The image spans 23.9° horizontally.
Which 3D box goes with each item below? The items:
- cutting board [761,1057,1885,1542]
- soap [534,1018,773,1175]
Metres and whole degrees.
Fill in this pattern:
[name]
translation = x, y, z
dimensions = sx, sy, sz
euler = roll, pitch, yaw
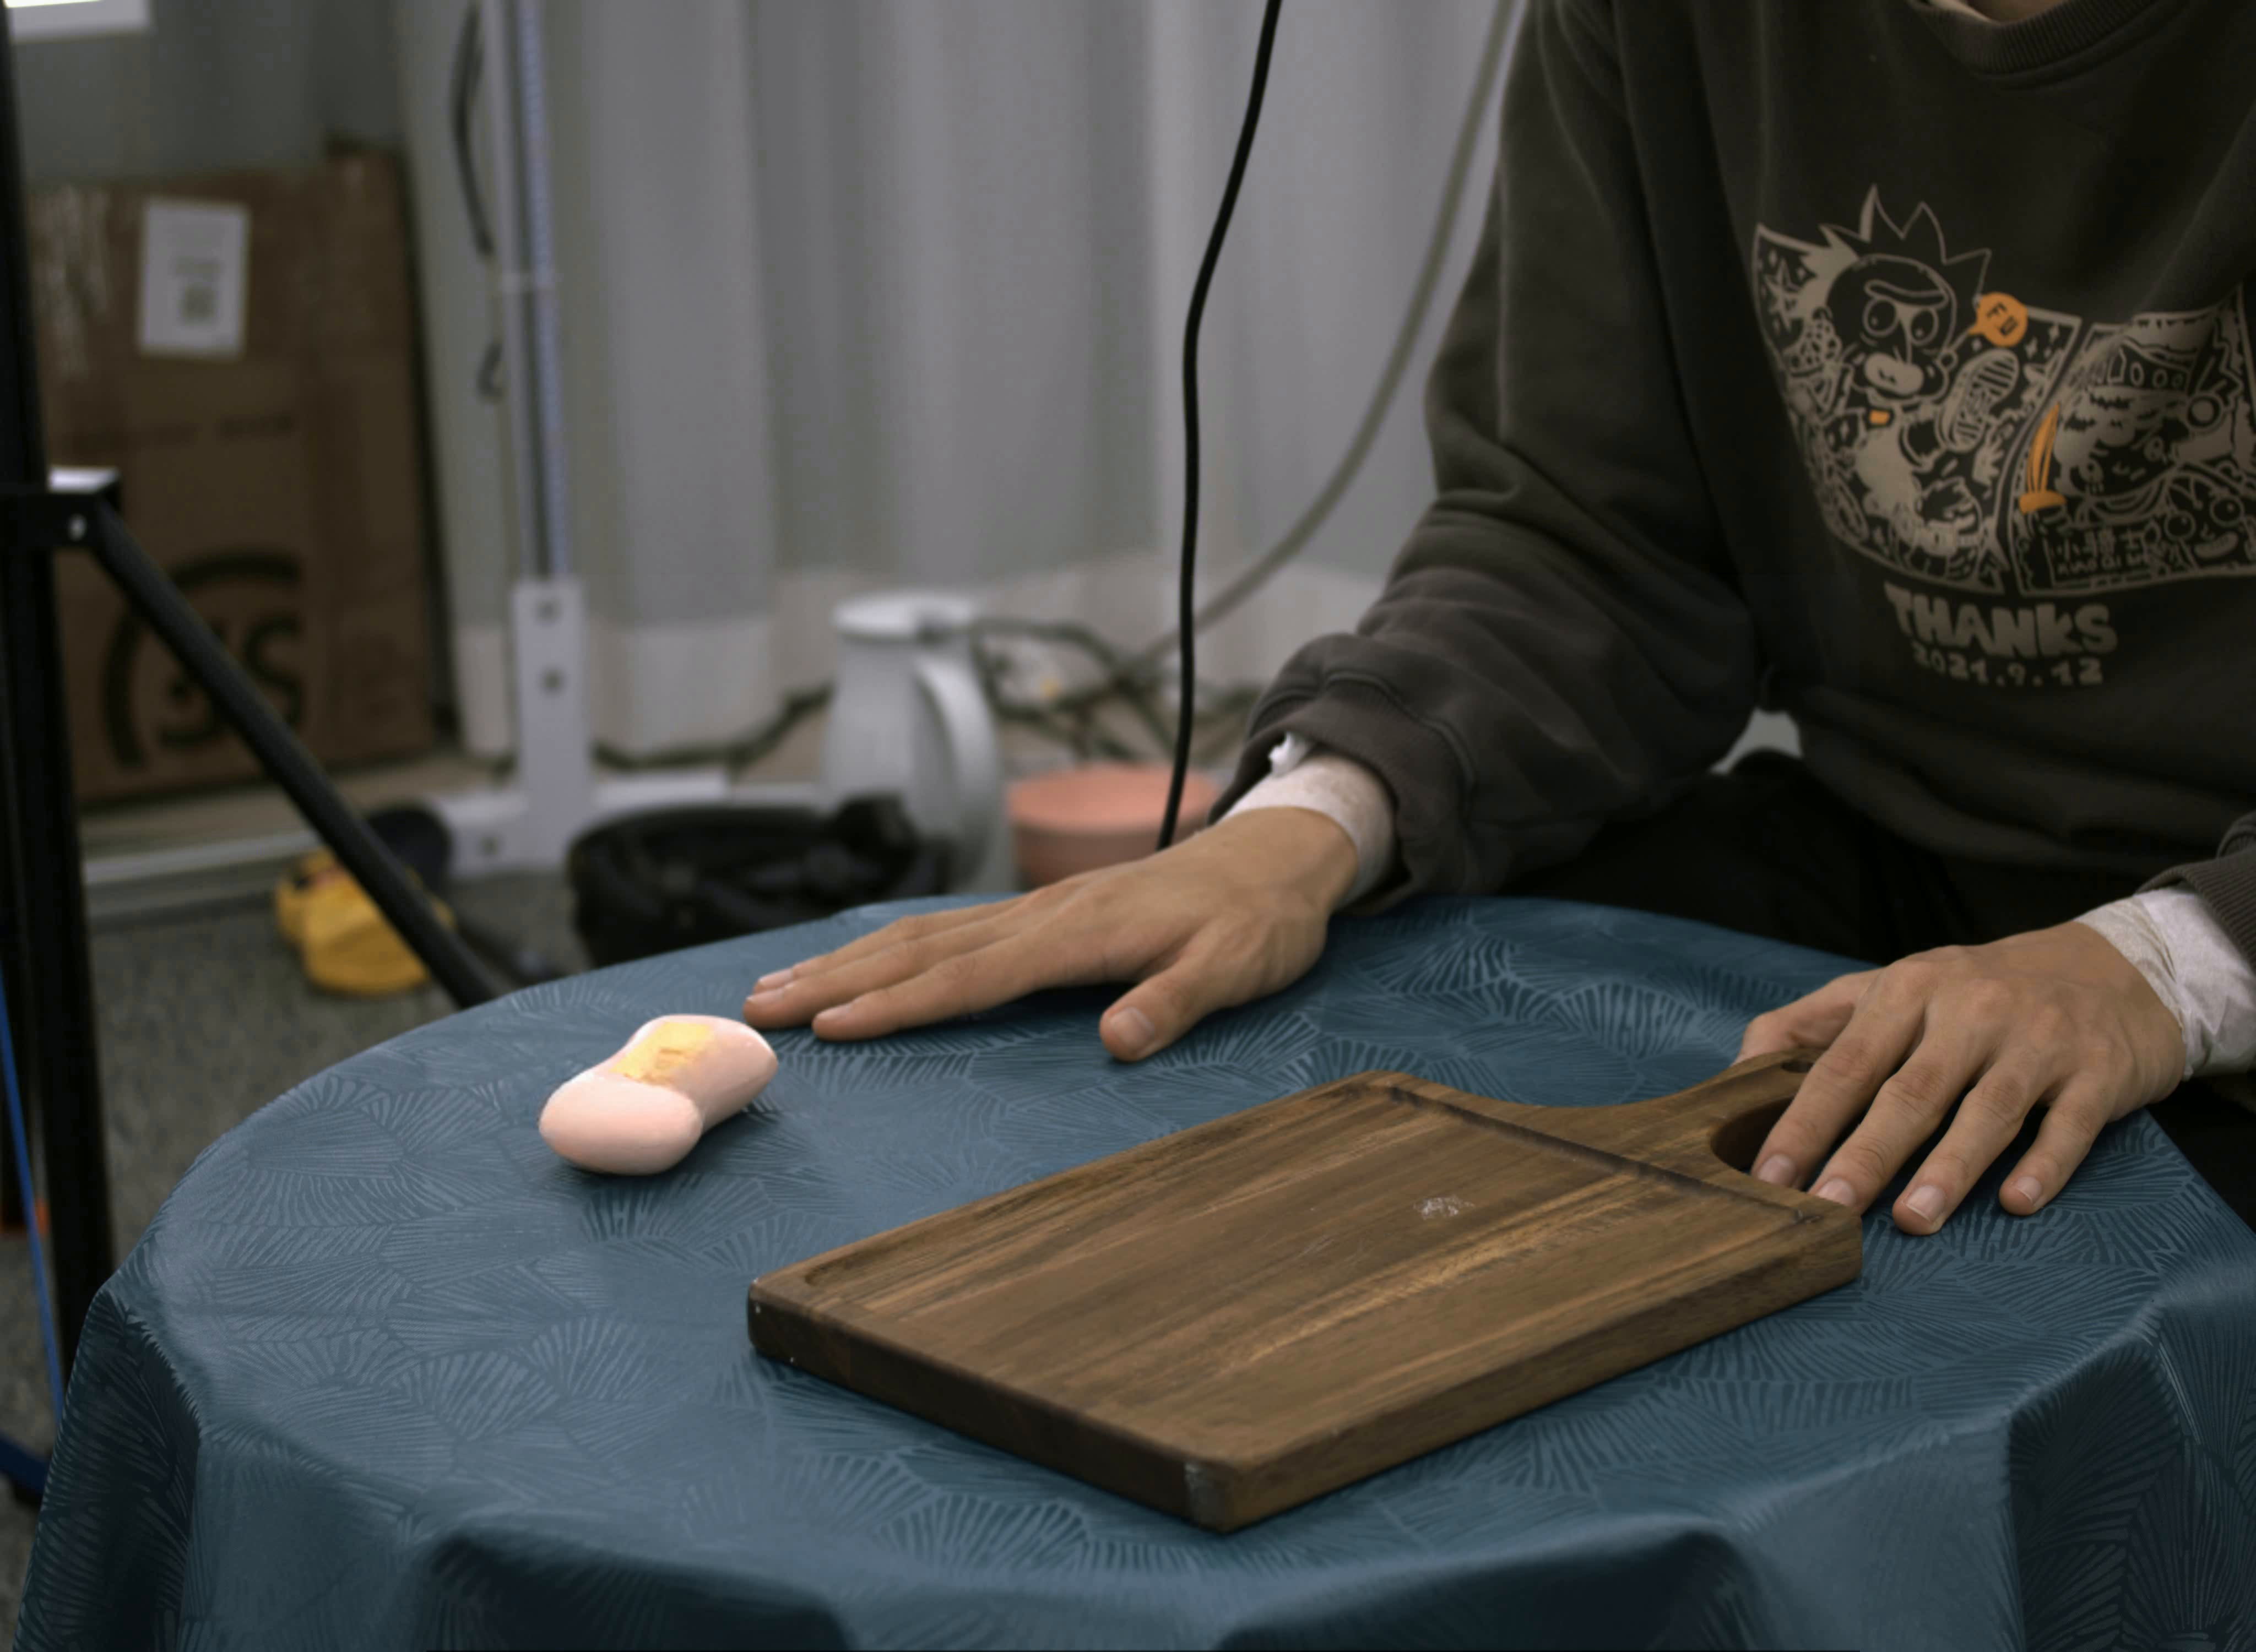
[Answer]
[cutting board]
translation = 0.091, 0.117, 1.477
dimensions = 0.344, 0.023, 0.206
euler = -15, 20, -38
[soap]
translation = -0.144, 0.082, 1.627
dimensions = 0.051, 0.030, 0.093
euler = 4, 15, 20
